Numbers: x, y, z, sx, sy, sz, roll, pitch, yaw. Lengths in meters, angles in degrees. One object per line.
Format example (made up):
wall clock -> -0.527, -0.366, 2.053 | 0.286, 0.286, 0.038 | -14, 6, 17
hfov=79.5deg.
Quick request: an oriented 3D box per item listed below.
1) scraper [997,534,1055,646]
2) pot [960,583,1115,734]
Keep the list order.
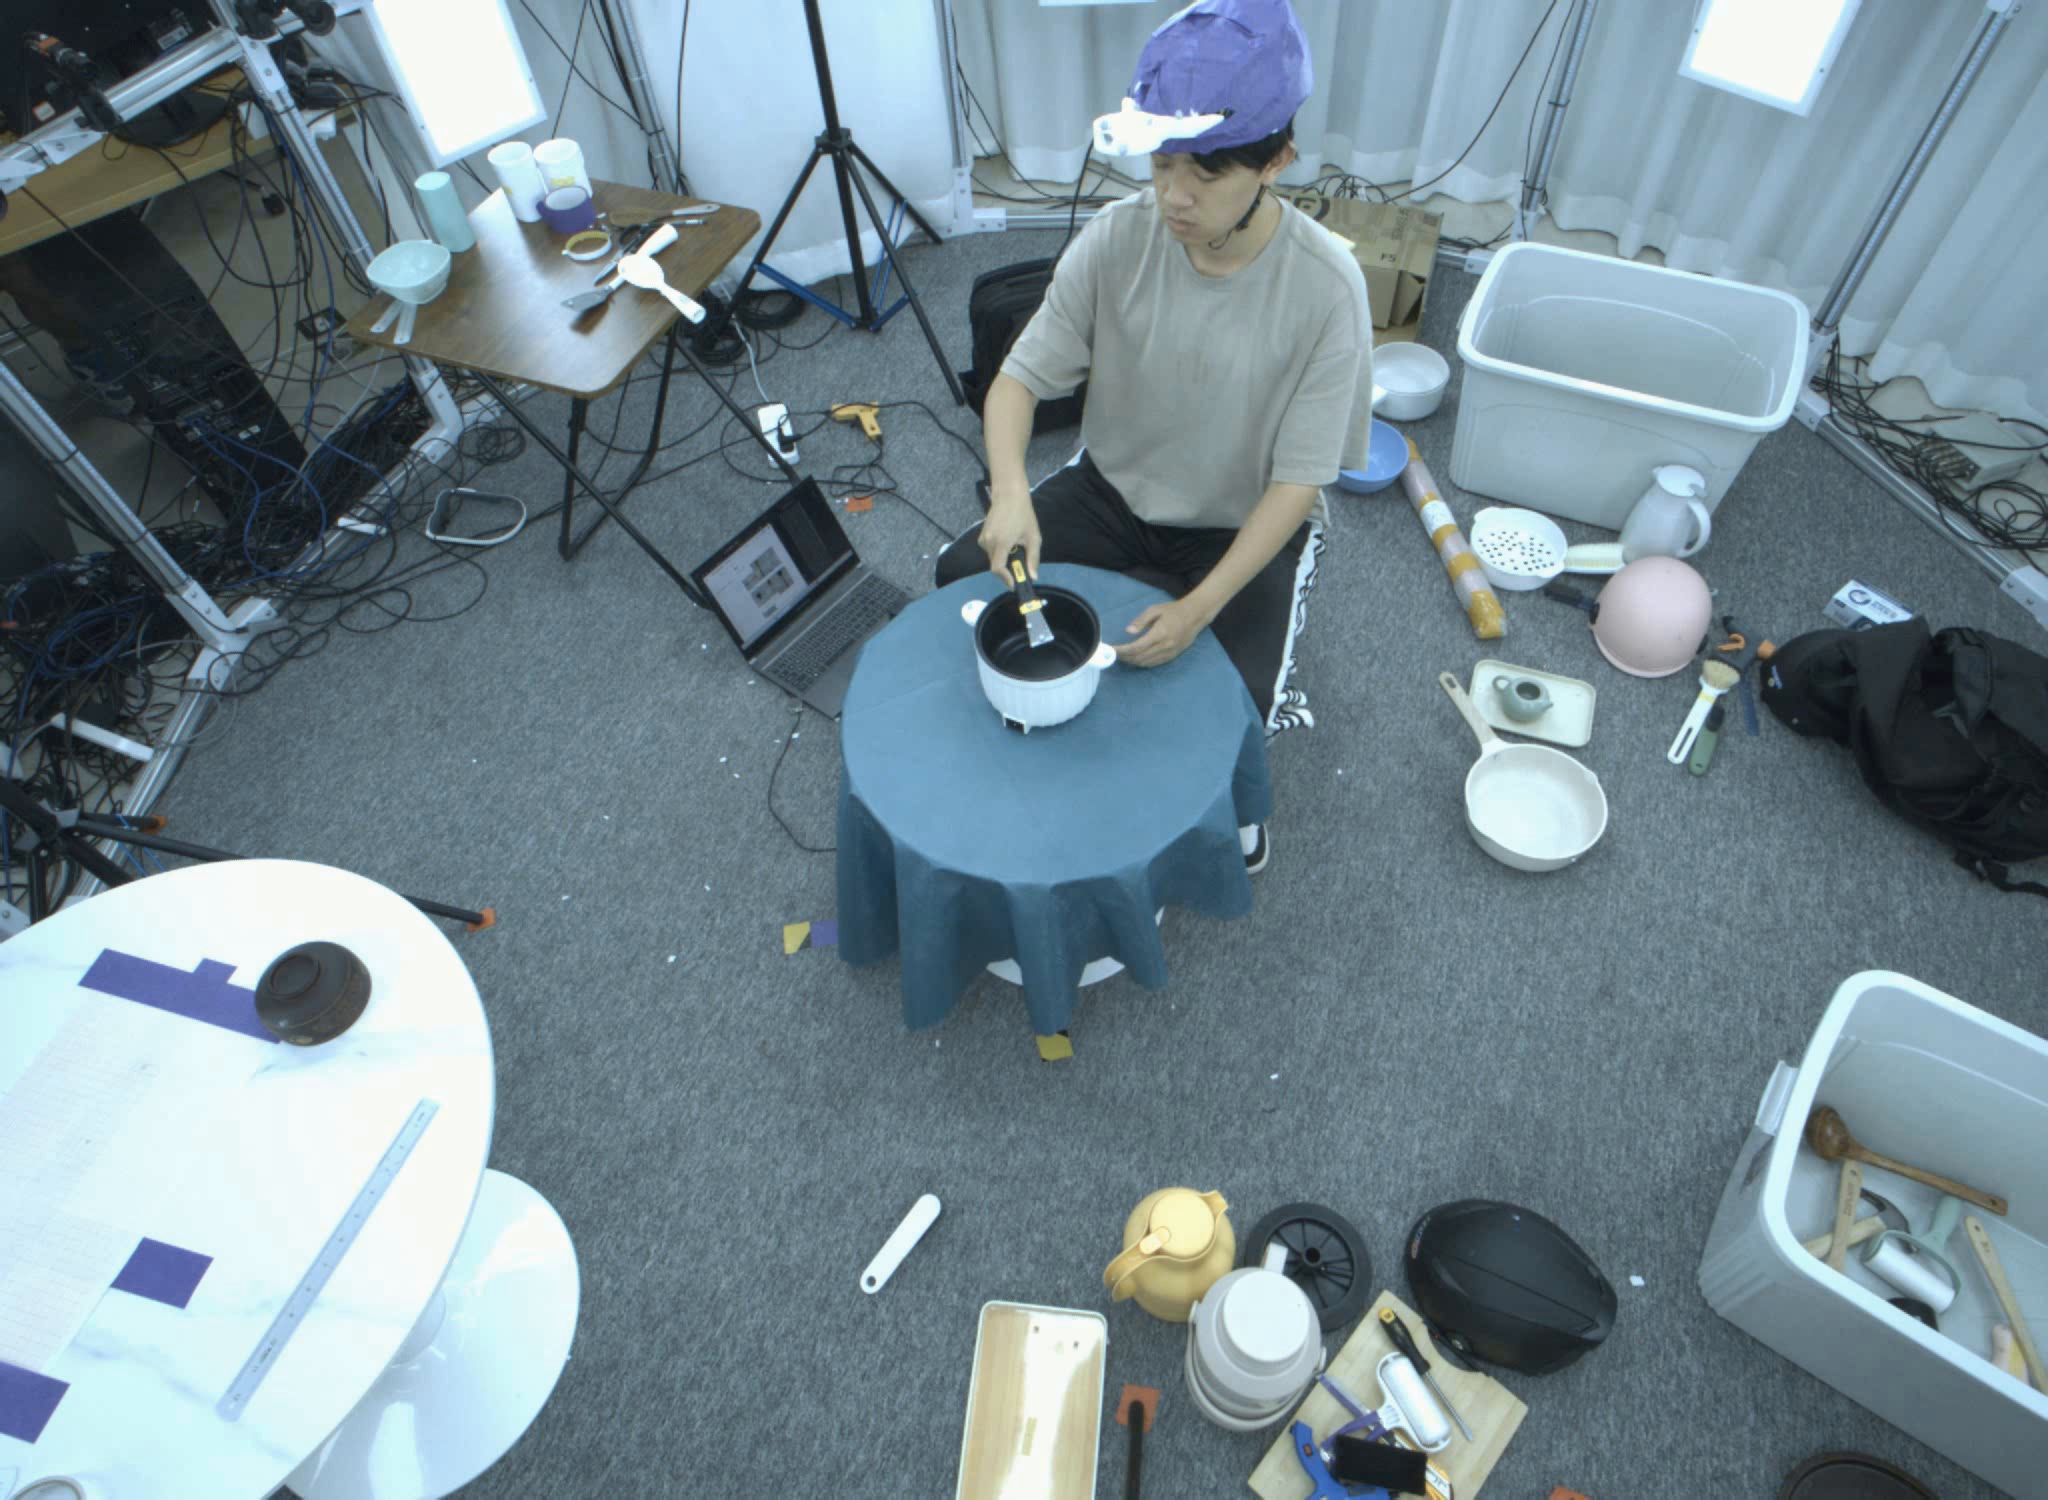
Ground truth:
scraper -> -0.001, -0.230, 1.750 | 0.038, 0.015, 0.170 | -21, 82, 10
pot -> 0.023, -0.135, 1.793 | 0.237, 0.144, 0.190 | 21, 63, 16
